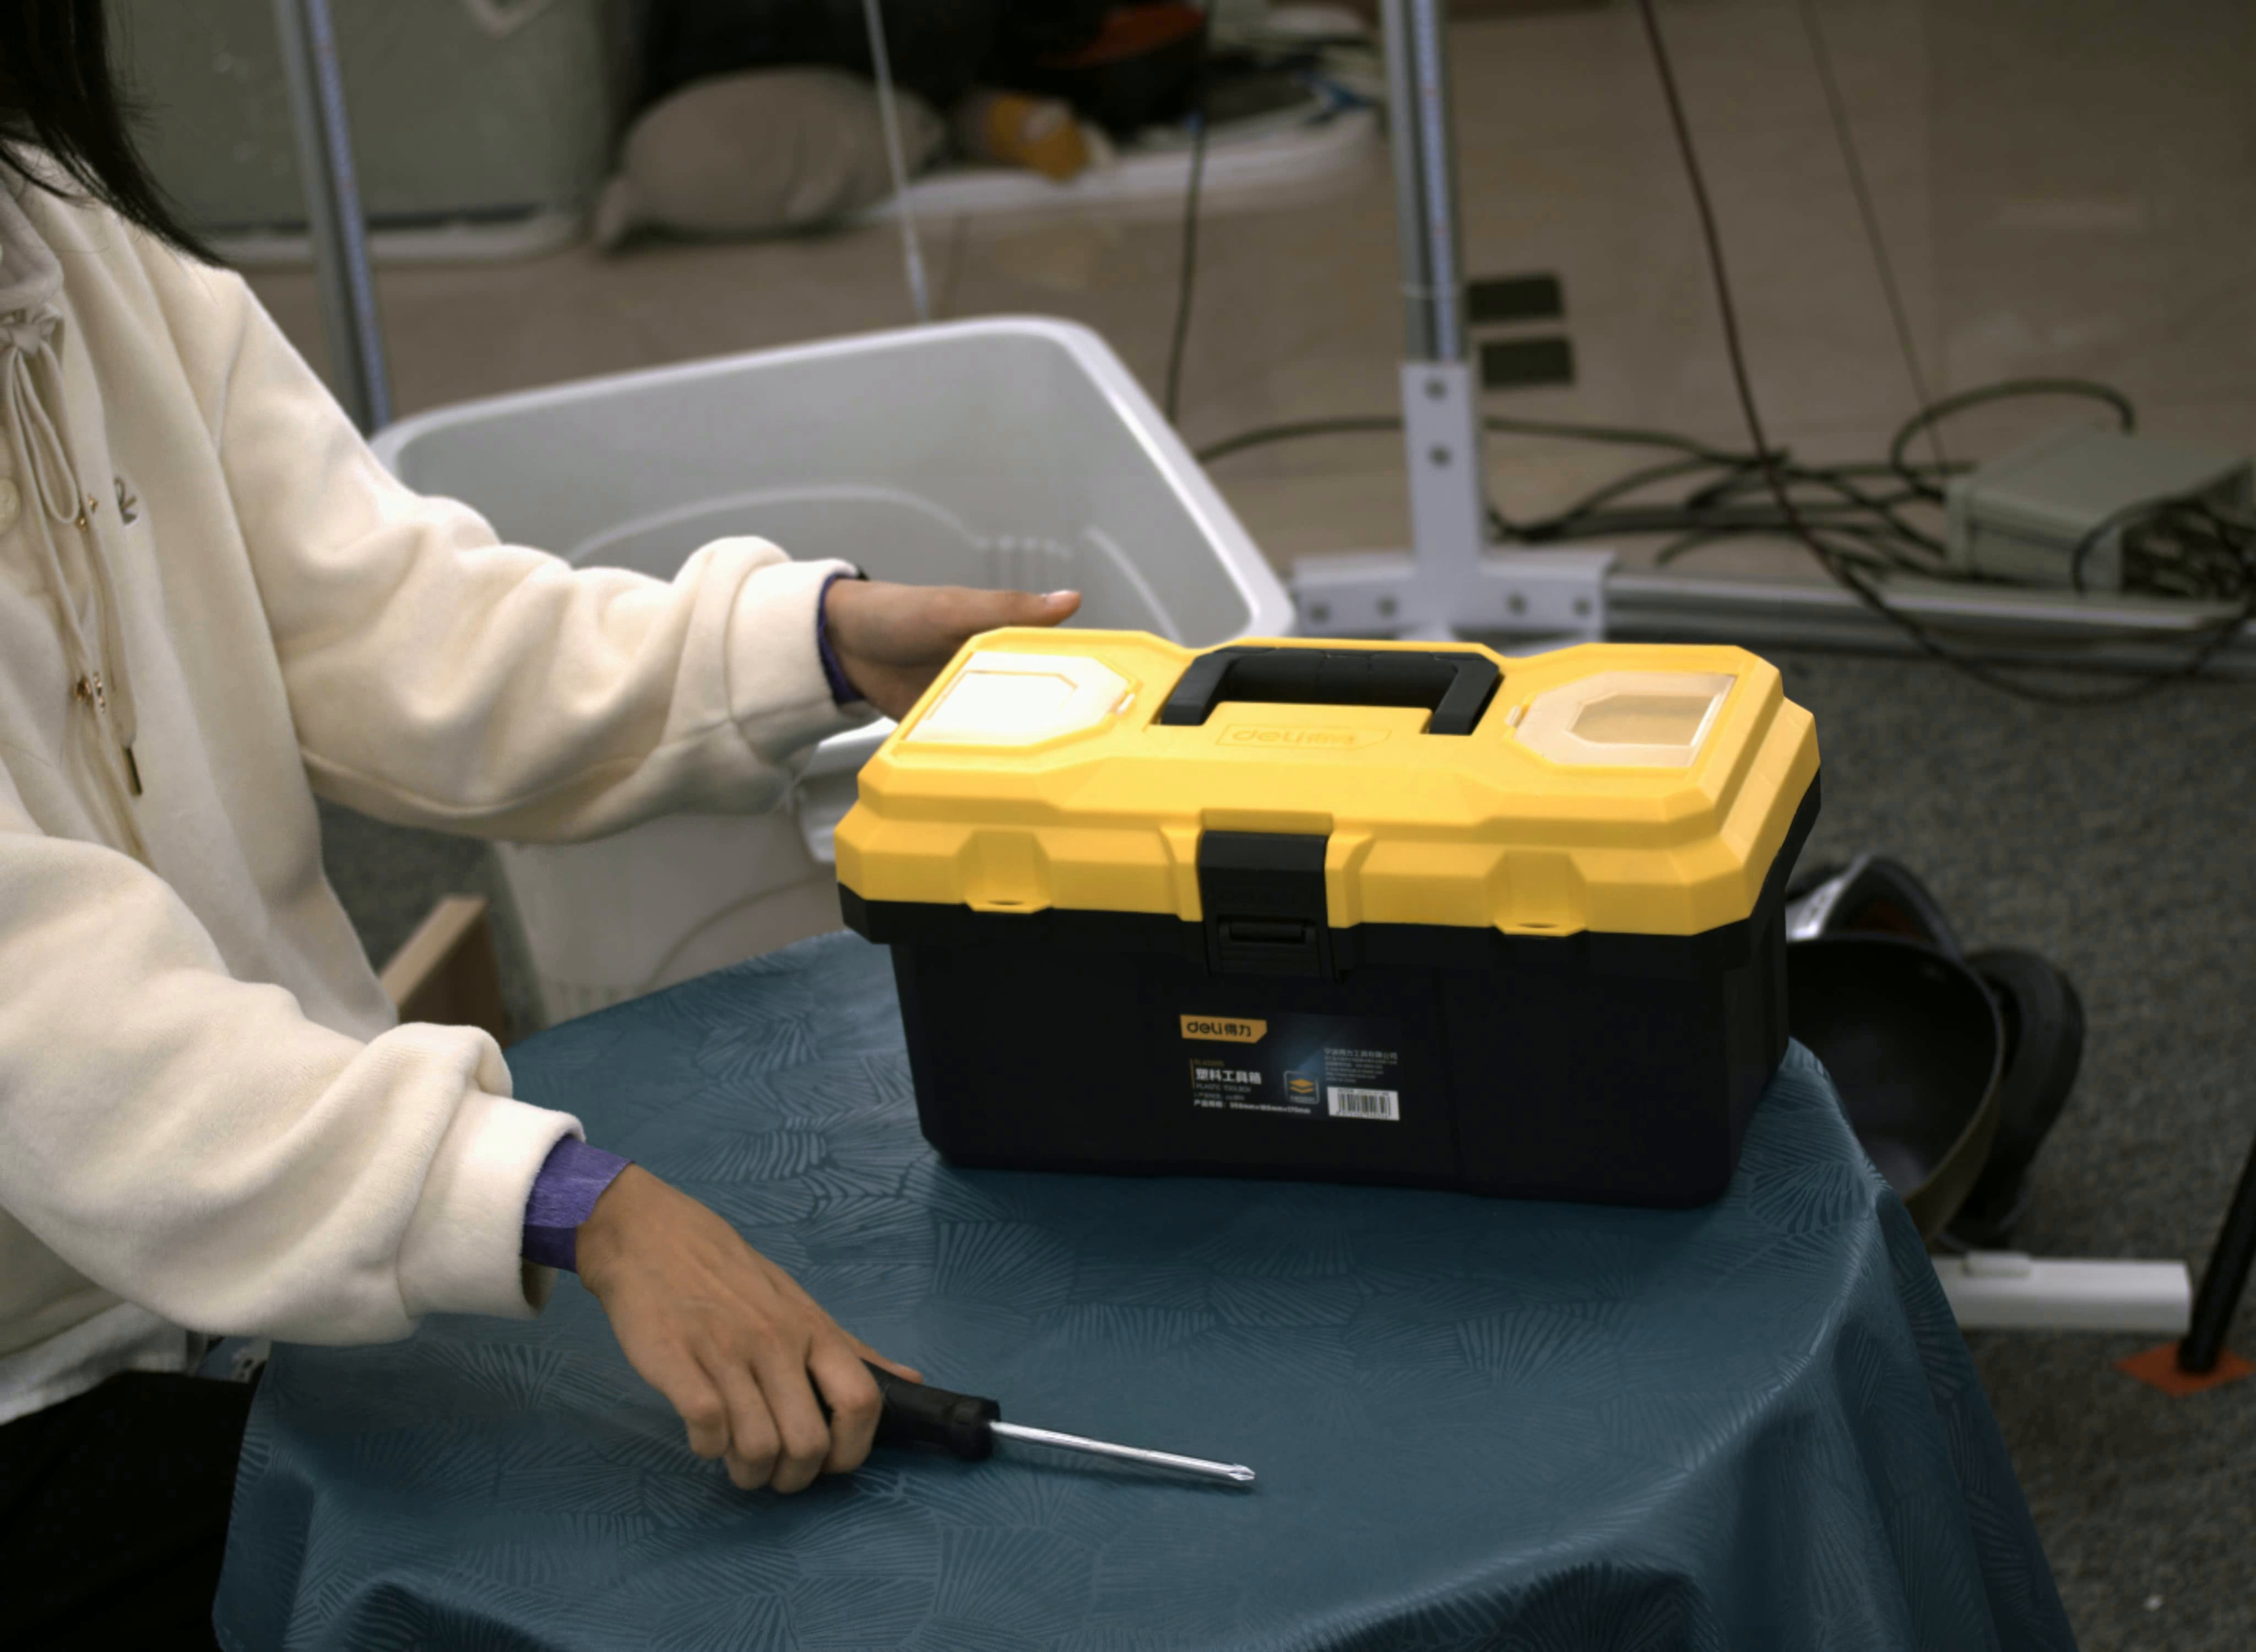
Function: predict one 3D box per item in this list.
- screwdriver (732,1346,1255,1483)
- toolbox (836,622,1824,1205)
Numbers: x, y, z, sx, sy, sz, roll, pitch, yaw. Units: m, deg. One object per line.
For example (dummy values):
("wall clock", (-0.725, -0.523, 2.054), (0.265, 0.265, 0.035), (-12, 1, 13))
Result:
("screwdriver", (-0.048, 0.206, 1.977), (0.195, 0.032, 0.031), (6, 28, 22))
("toolbox", (0.079, 0.032, 2.149), (0.350, 0.175, 0.179), (3, 27, 19))
